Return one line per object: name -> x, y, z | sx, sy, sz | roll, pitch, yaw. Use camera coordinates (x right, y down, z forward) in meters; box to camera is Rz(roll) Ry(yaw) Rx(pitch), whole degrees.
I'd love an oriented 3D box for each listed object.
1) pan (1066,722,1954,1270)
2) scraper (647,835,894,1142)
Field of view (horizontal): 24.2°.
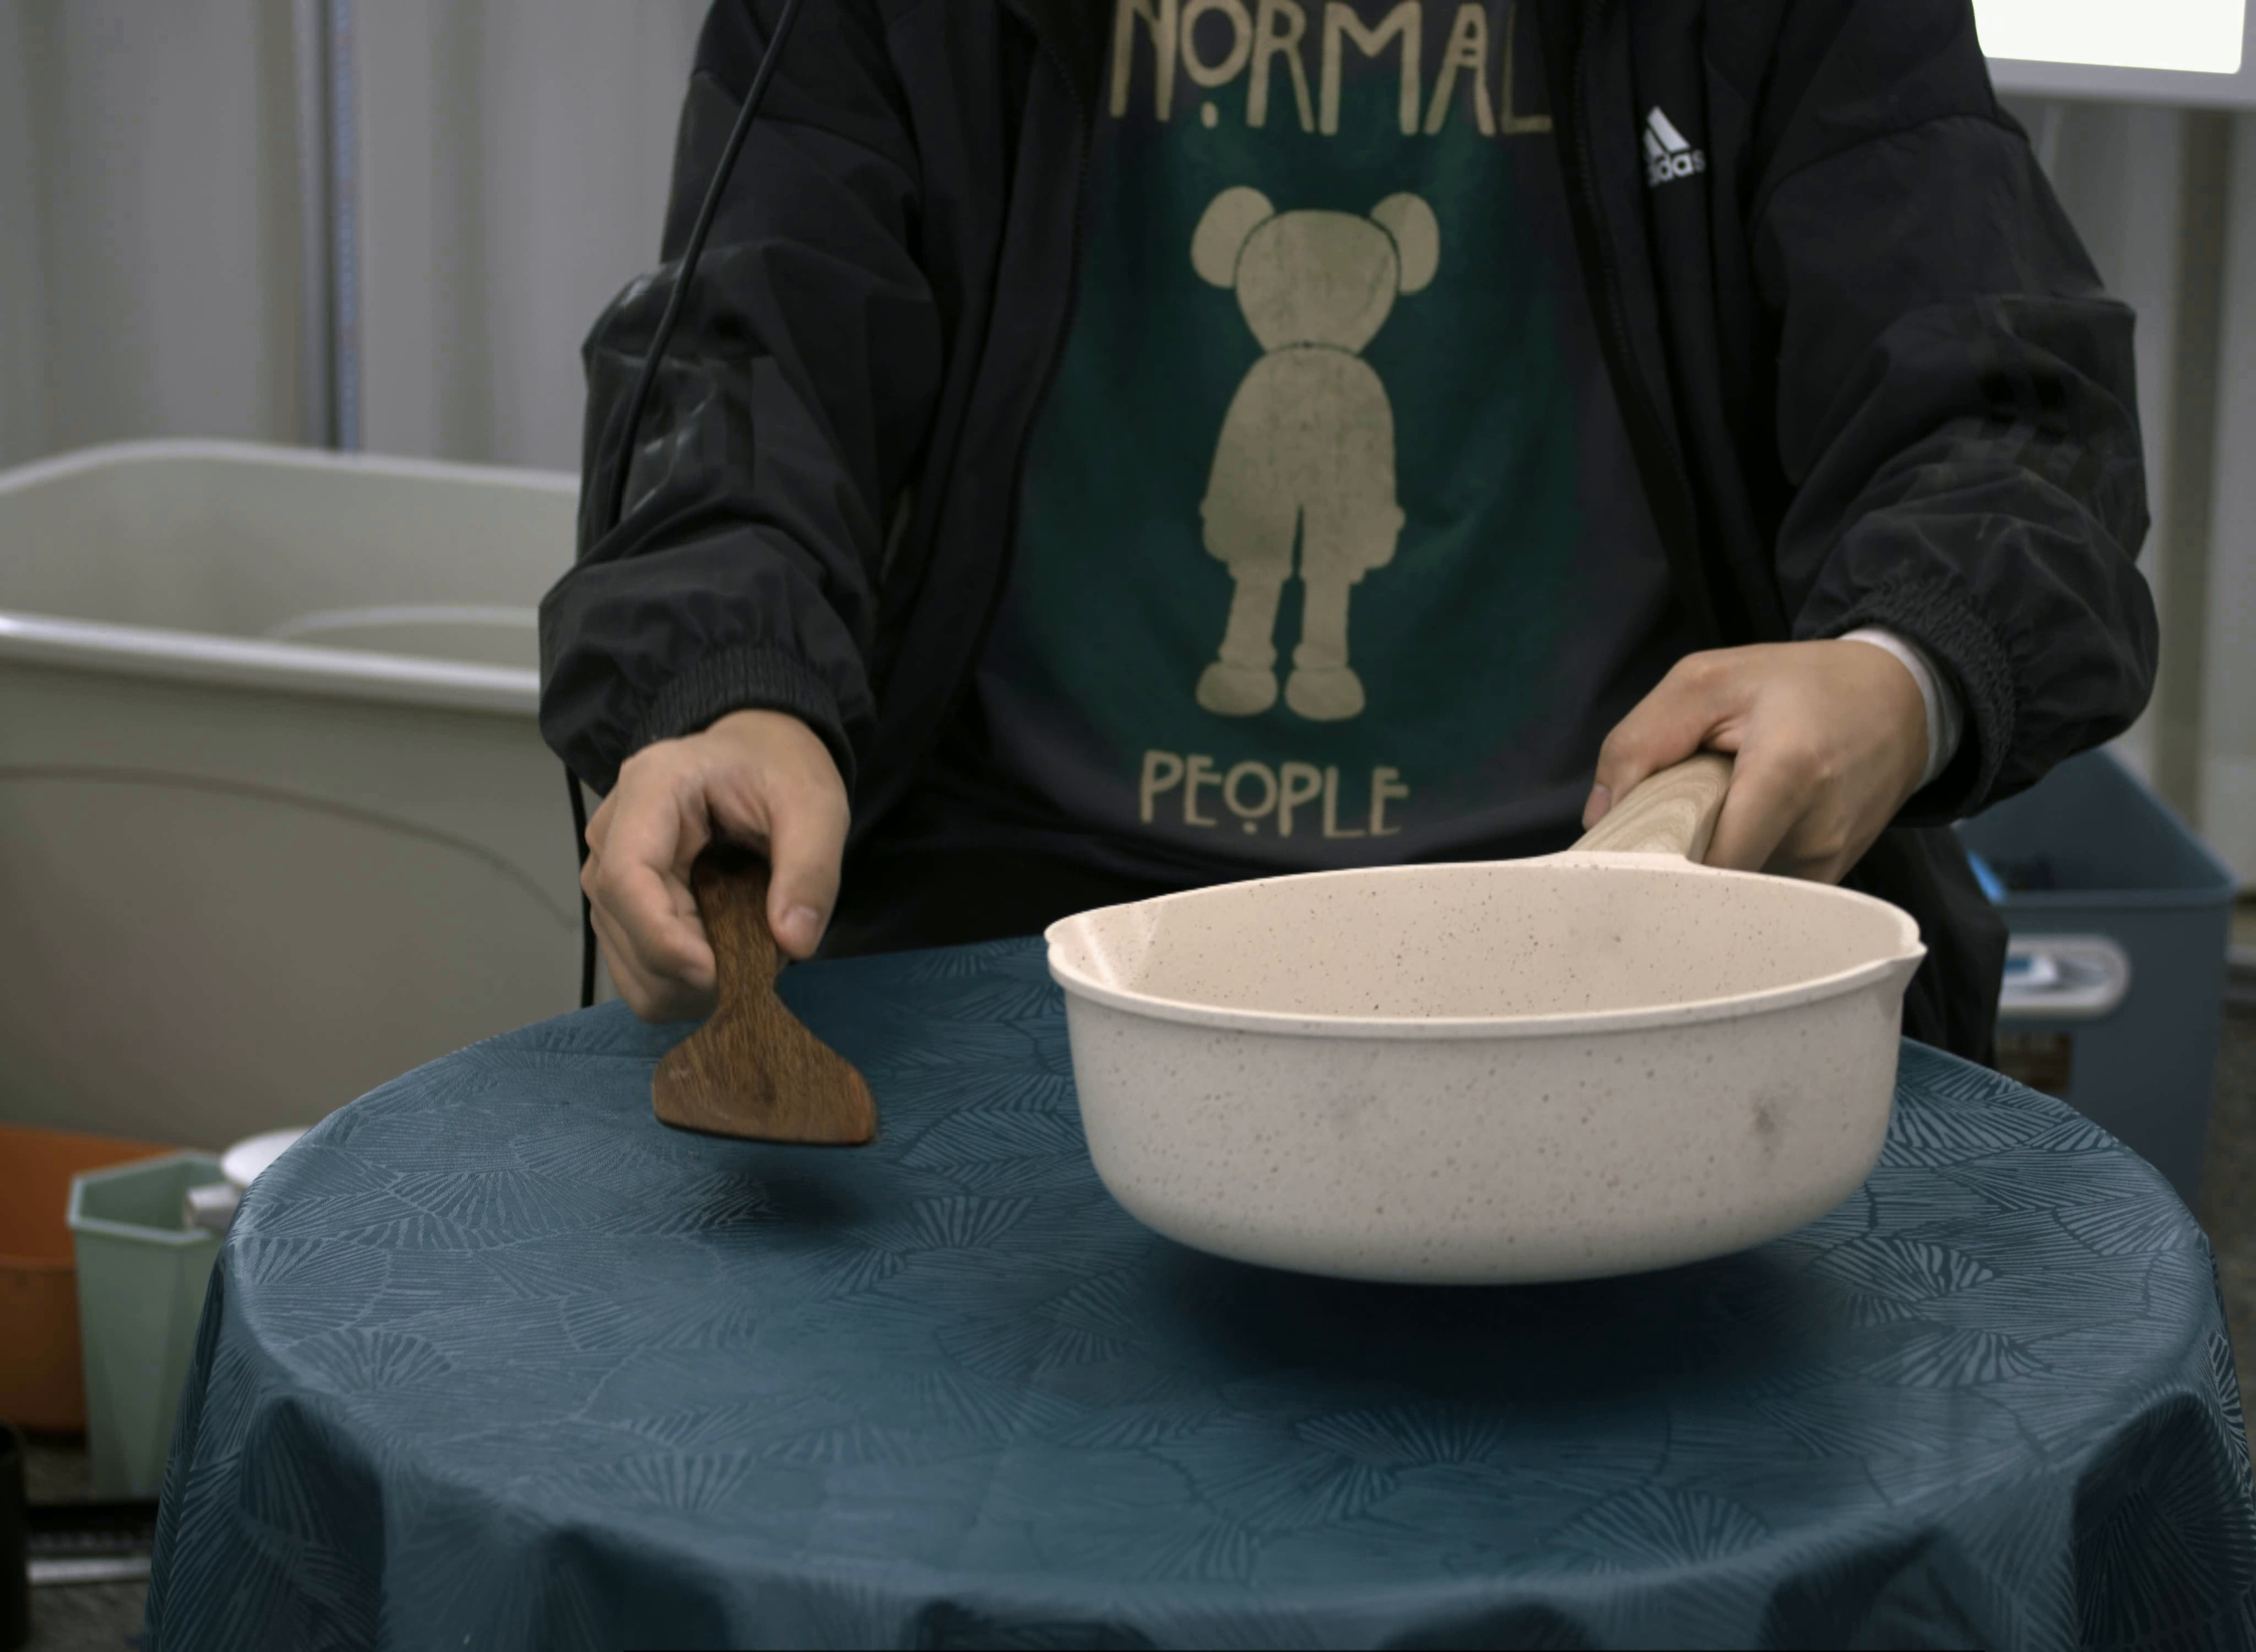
pan -> 0.143, 0.047, 1.606 | 0.261, 0.102, 0.436 | 0, 9, 21
scraper -> -0.120, 0.050, 1.667 | 0.076, 0.011, 0.209 | 7, 24, -12
